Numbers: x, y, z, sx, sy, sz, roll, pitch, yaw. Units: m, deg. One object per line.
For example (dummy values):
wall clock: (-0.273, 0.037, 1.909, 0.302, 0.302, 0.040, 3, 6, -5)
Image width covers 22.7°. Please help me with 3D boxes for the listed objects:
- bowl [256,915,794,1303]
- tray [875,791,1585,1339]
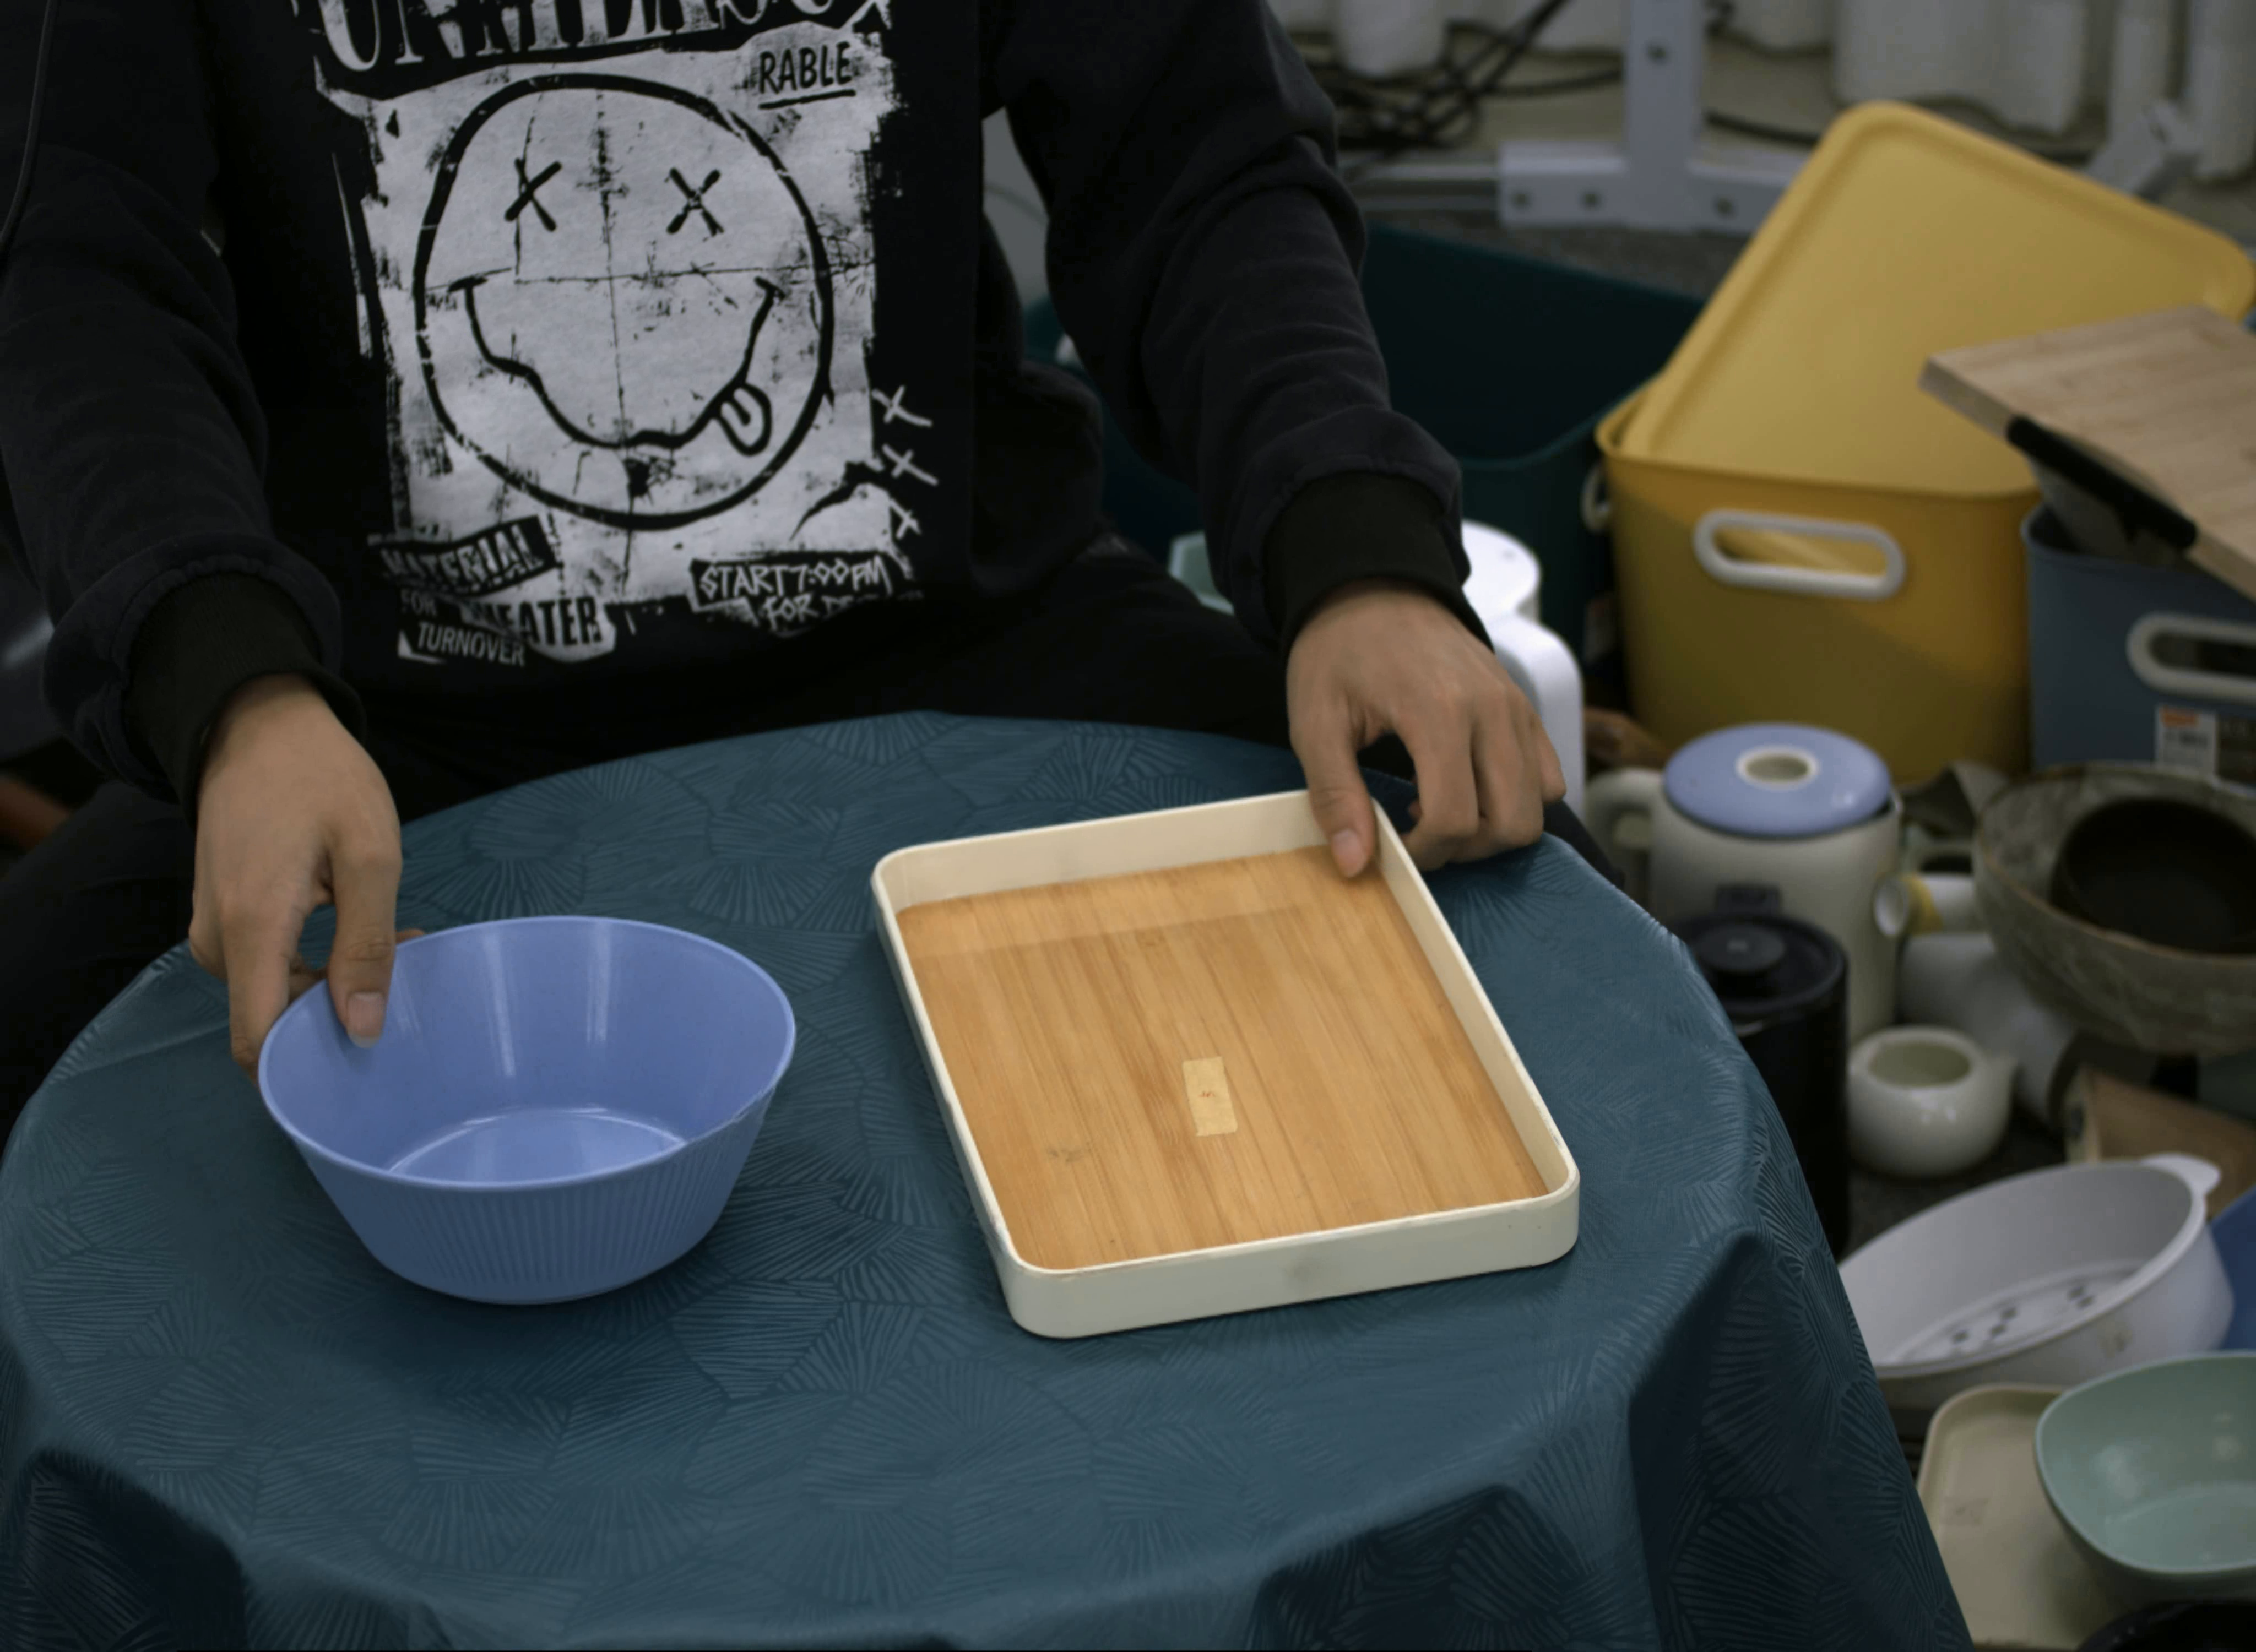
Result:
bowl: (-0.196, 0.099, 1.845, 0.175, 0.069, 0.179, -1, 28, 1)
tray: (0.029, 0.076, 1.919, 0.191, 0.027, 0.304, -8, 28, -9)
